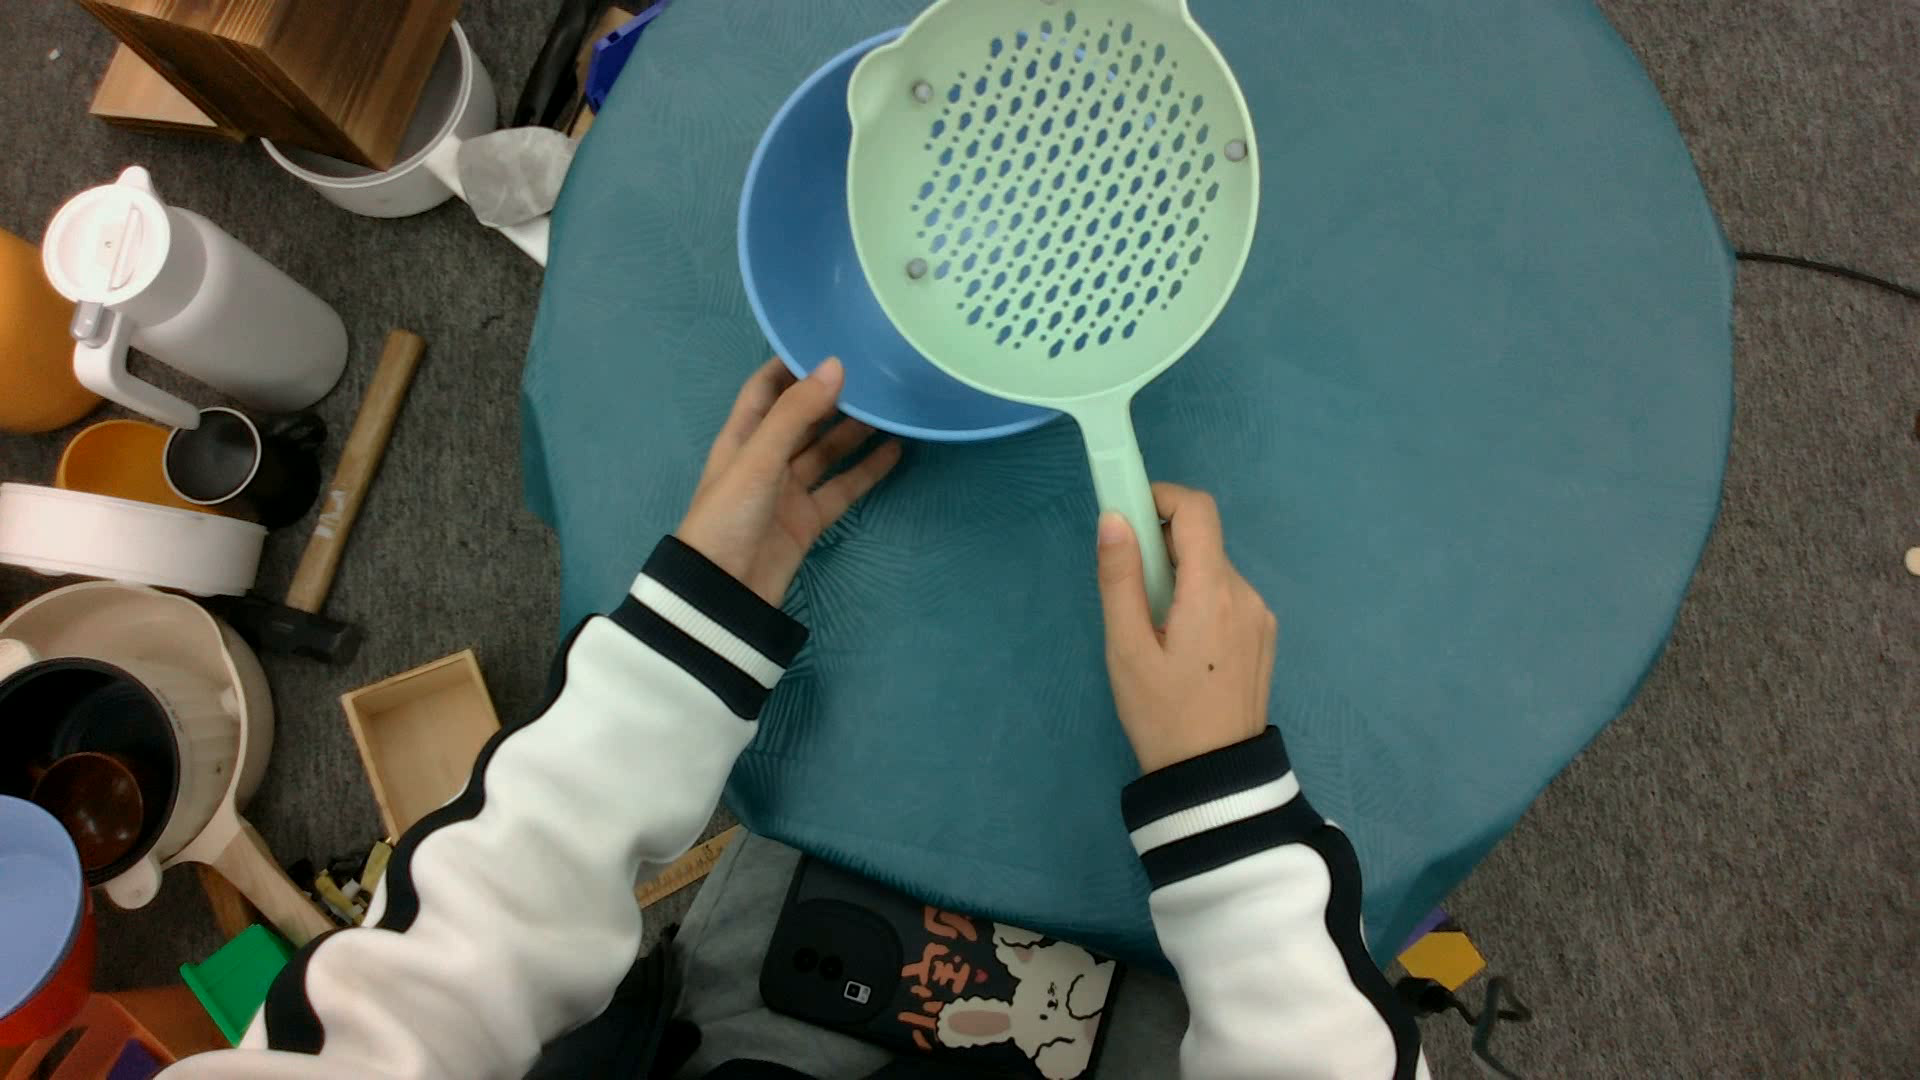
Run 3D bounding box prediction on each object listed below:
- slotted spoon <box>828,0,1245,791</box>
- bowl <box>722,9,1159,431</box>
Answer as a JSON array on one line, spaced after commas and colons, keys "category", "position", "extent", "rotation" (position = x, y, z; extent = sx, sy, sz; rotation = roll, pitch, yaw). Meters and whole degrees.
[{"category": "slotted spoon", "position": [0.057, -0.055, 0.583], "extent": [0.169, 0.075, 0.358], "rotation": [-12, 94, 17]}, {"category": "bowl", "position": [-0.006, -0.137, 0.652], "extent": [0.196, 0.095, 0.197], "rotation": [0, 80, 1]}]
